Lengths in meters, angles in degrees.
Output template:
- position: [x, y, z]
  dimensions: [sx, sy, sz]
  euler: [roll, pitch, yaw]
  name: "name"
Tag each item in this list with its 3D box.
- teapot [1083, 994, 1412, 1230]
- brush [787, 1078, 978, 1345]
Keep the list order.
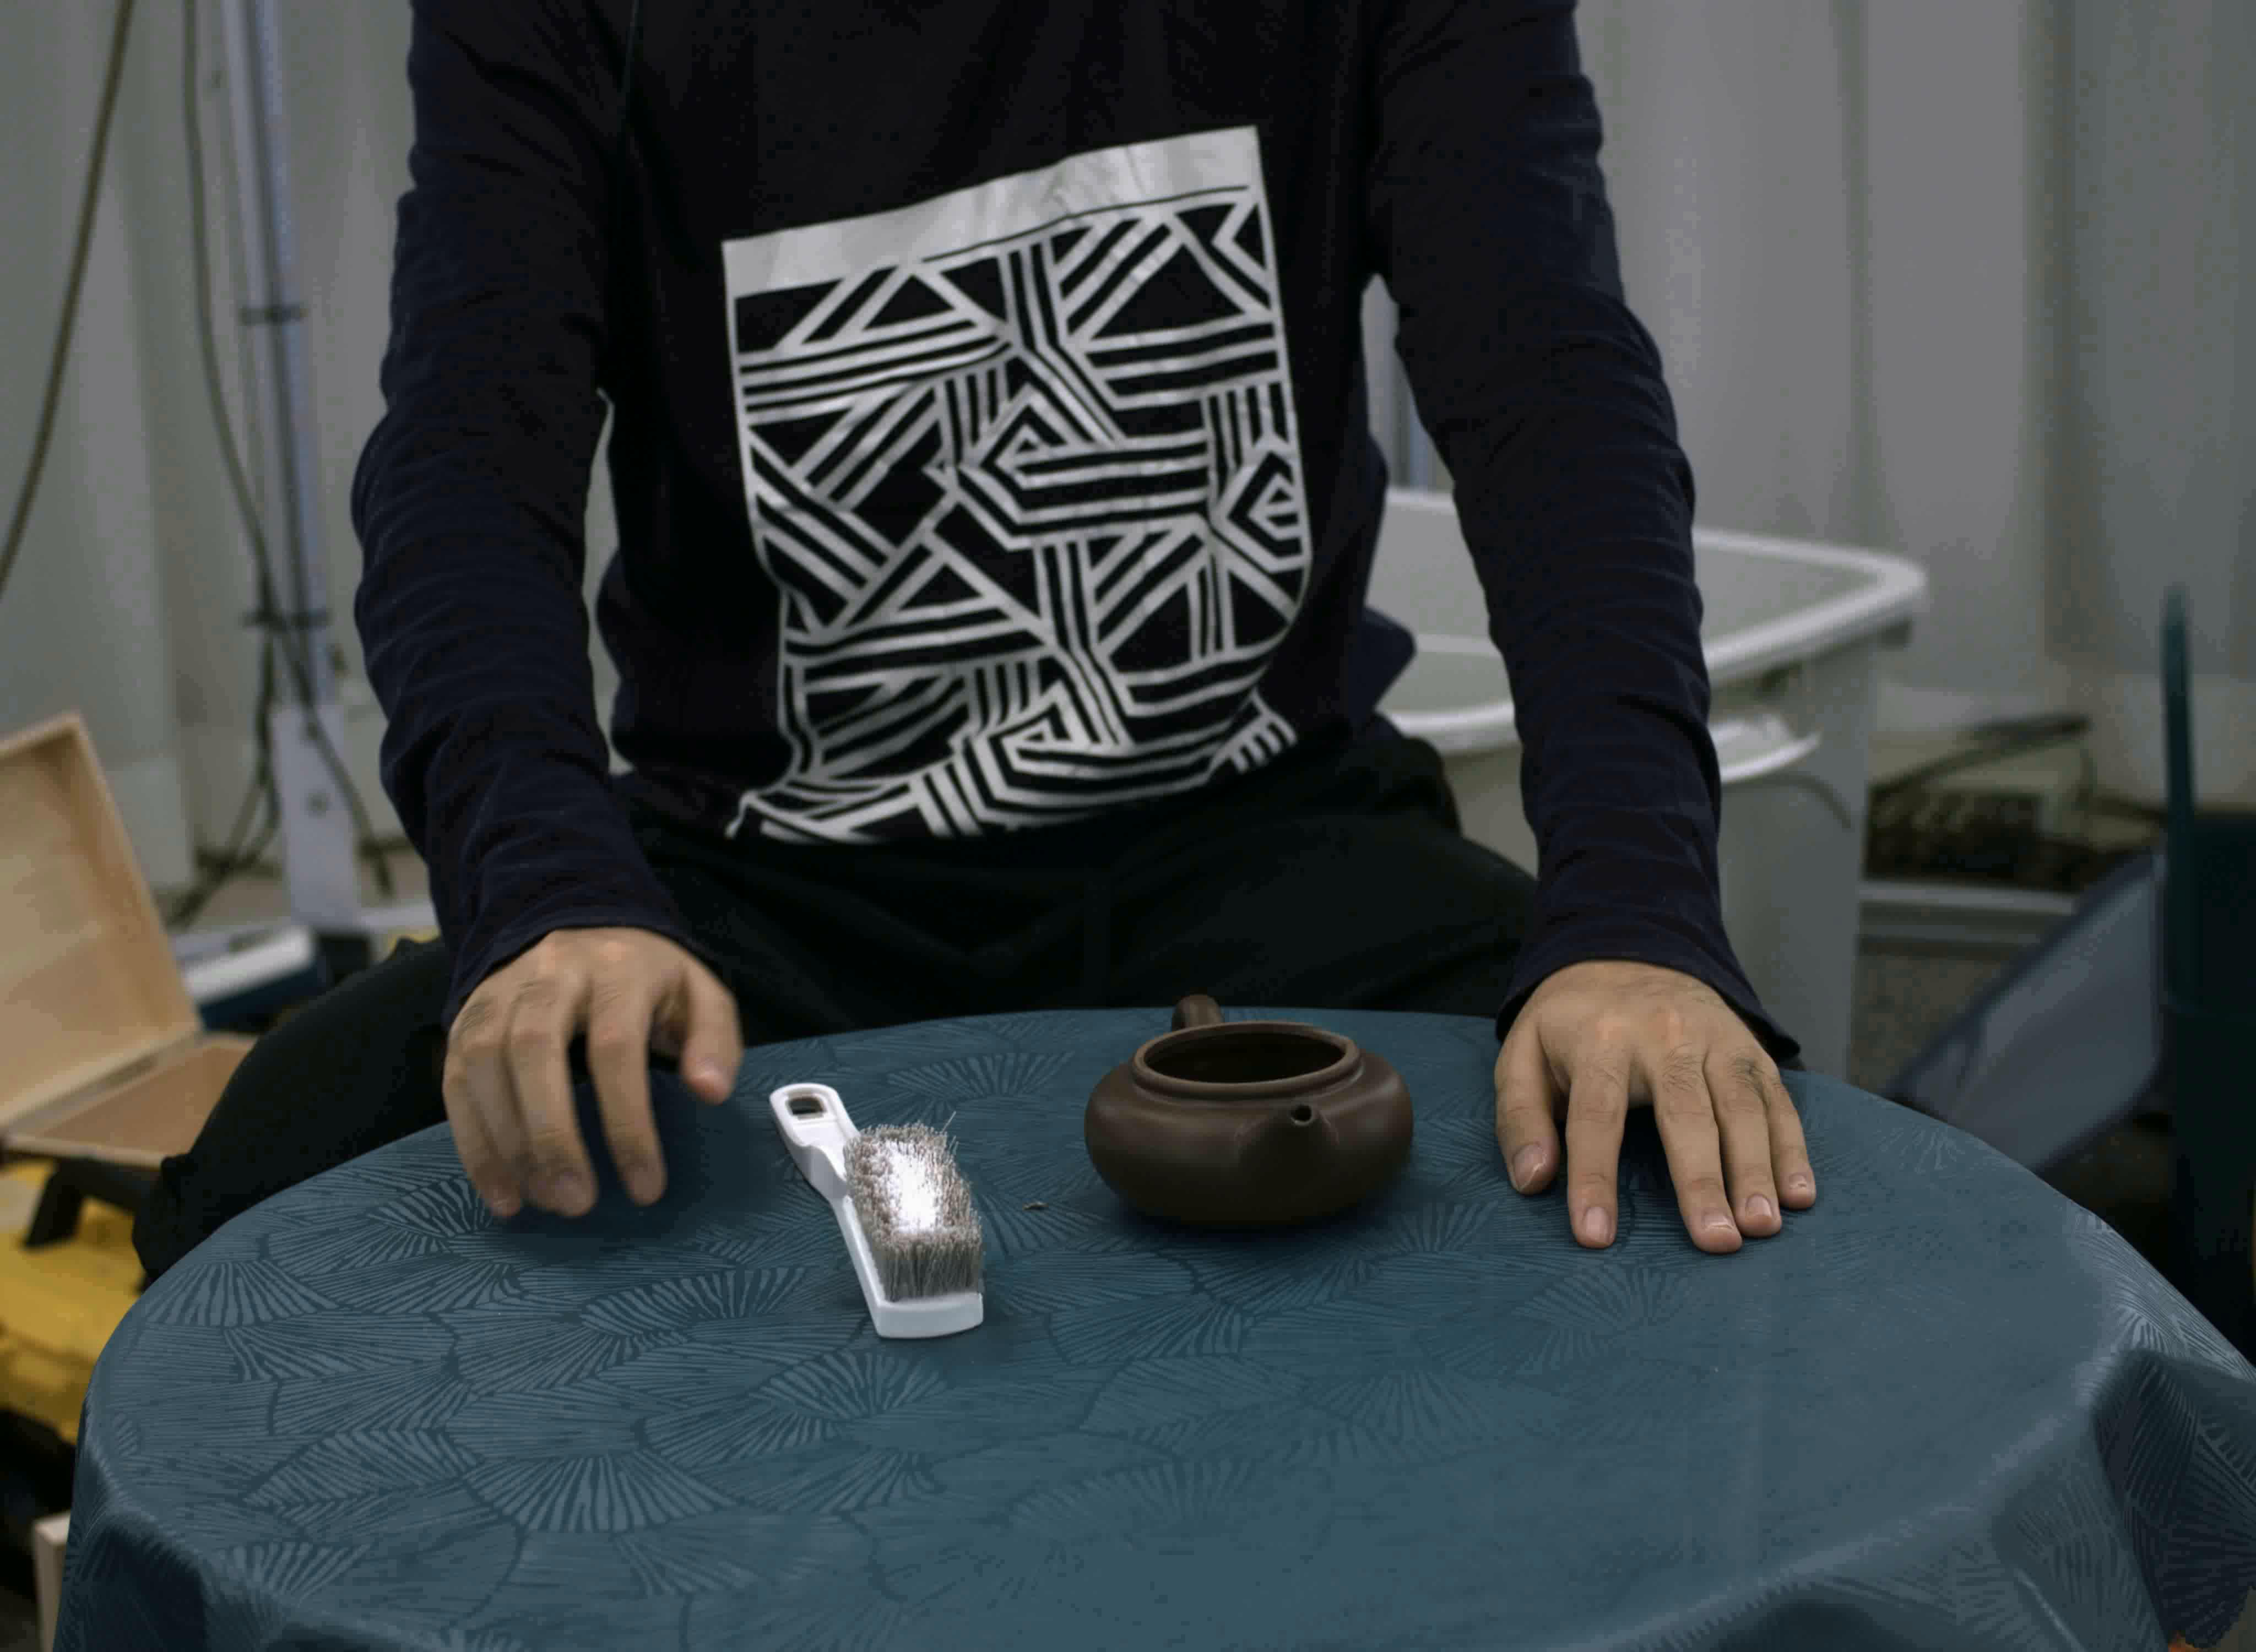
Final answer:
- position: [0.036, 0.090, 1.699]
  dimensions: [0.102, 0.053, 0.155]
  euler: [-8, 16, -17]
  name: "teapot"
- position: [-0.081, 0.099, 1.693]
  dimensions: [0.034, 0.050, 0.245]
  euler: [-8, 16, -9]
  name: "brush"
